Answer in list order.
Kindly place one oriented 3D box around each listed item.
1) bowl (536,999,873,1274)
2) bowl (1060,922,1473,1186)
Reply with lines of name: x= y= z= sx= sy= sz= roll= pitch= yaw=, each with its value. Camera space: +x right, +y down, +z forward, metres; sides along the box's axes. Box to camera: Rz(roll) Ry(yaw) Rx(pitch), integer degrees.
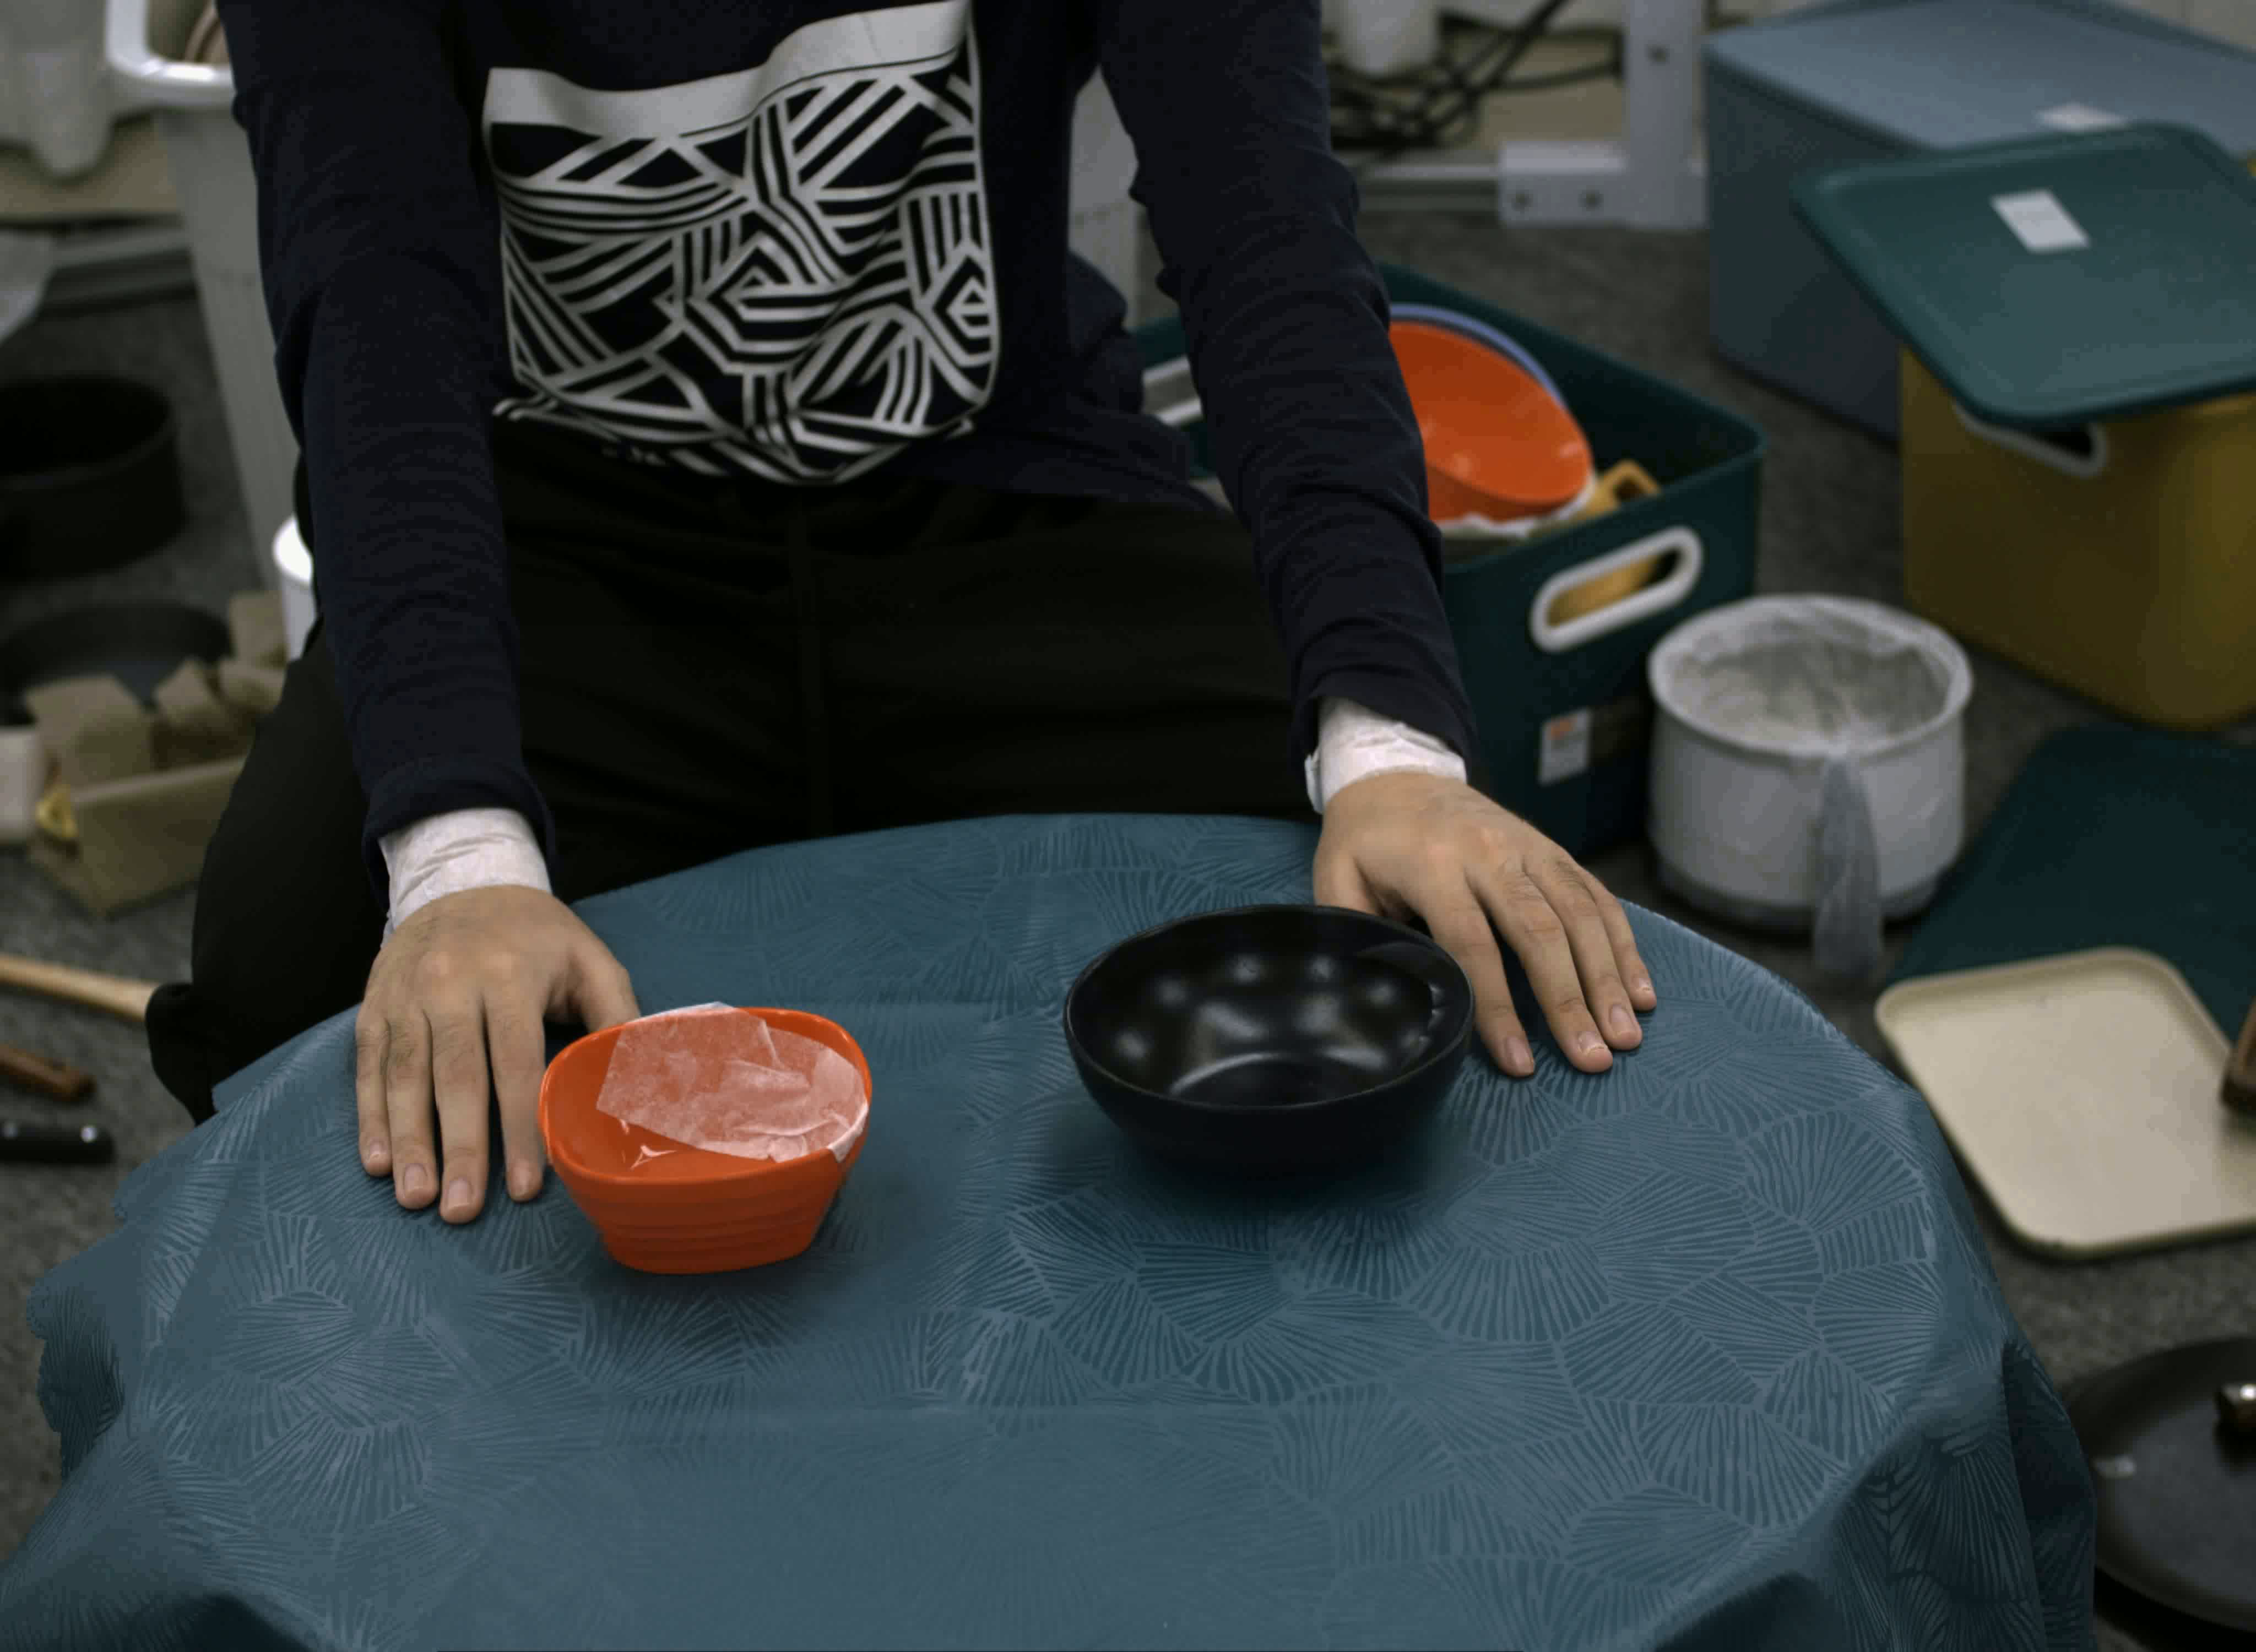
bowl: x=-0.137 y=0.107 z=1.846 sx=0.118 sy=0.051 sz=0.121 roll=-3 pitch=29 yaw=2
bowl: x=0.047 y=0.083 z=1.885 sx=0.139 sy=0.049 sz=0.142 roll=-3 pitch=23 yaw=2
